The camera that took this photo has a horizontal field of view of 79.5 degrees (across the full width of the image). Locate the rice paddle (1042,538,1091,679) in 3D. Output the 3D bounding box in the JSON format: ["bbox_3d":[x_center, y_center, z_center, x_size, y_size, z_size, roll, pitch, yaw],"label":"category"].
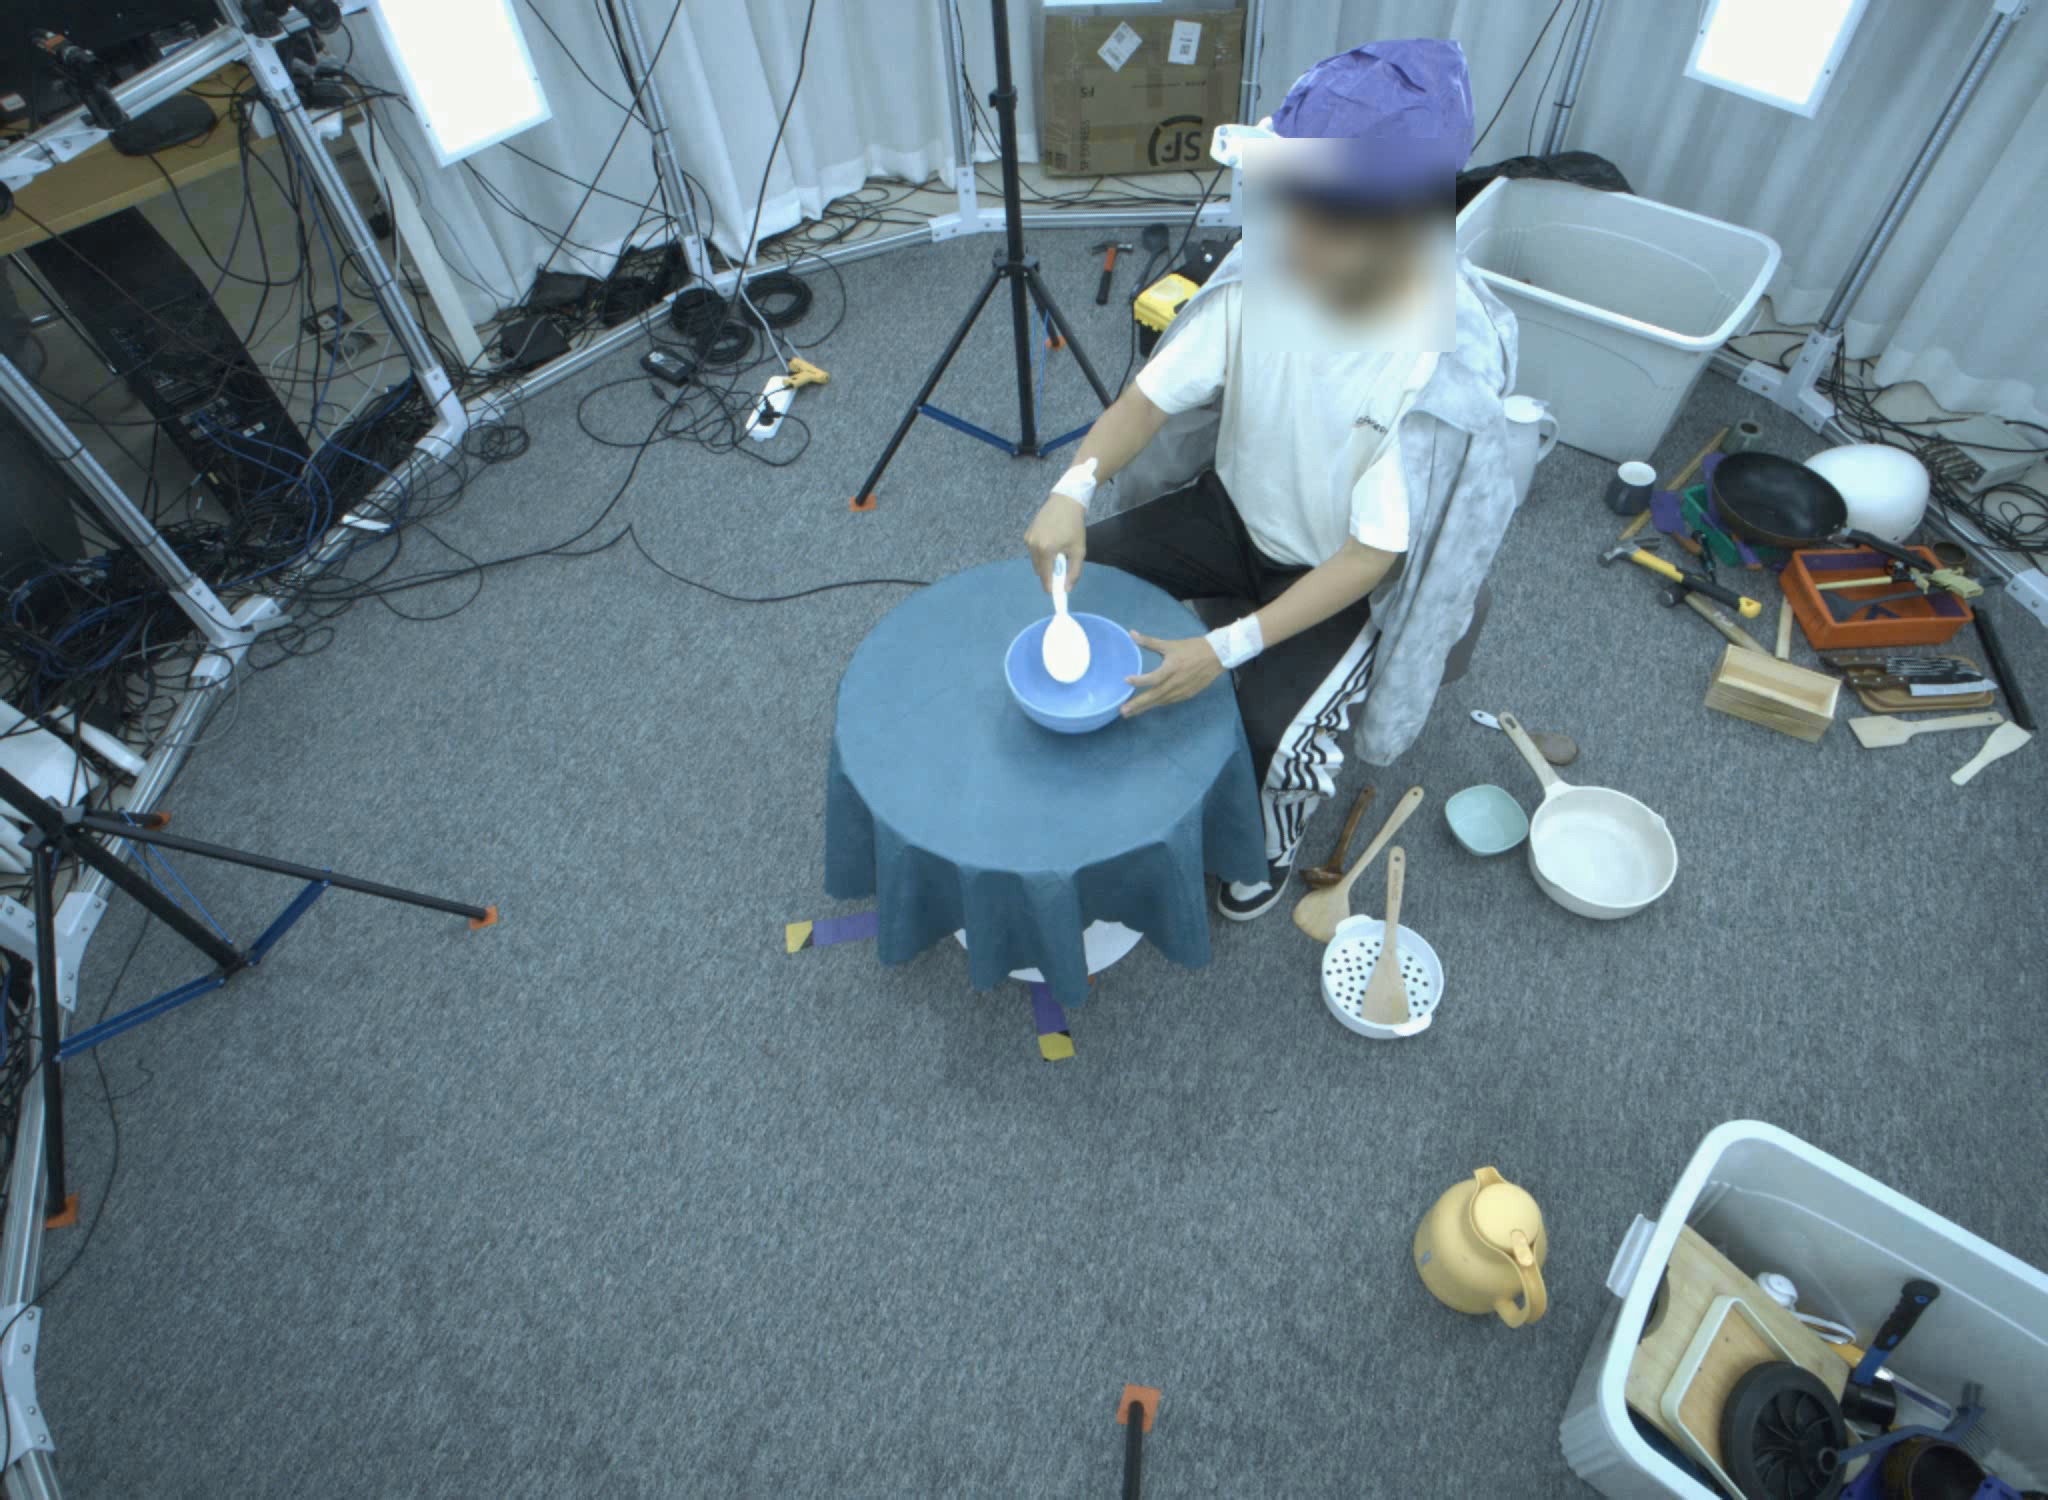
[{"bbox_3d":[0.055,-0.205,1.788,0.069,0.029,0.206,-8,98,-4],"label":"rice paddle"}]

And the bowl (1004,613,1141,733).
[{"bbox_3d":[0.073,-0.098,1.797,0.196,0.096,0.194,-1,55,3],"label":"bowl"}]
